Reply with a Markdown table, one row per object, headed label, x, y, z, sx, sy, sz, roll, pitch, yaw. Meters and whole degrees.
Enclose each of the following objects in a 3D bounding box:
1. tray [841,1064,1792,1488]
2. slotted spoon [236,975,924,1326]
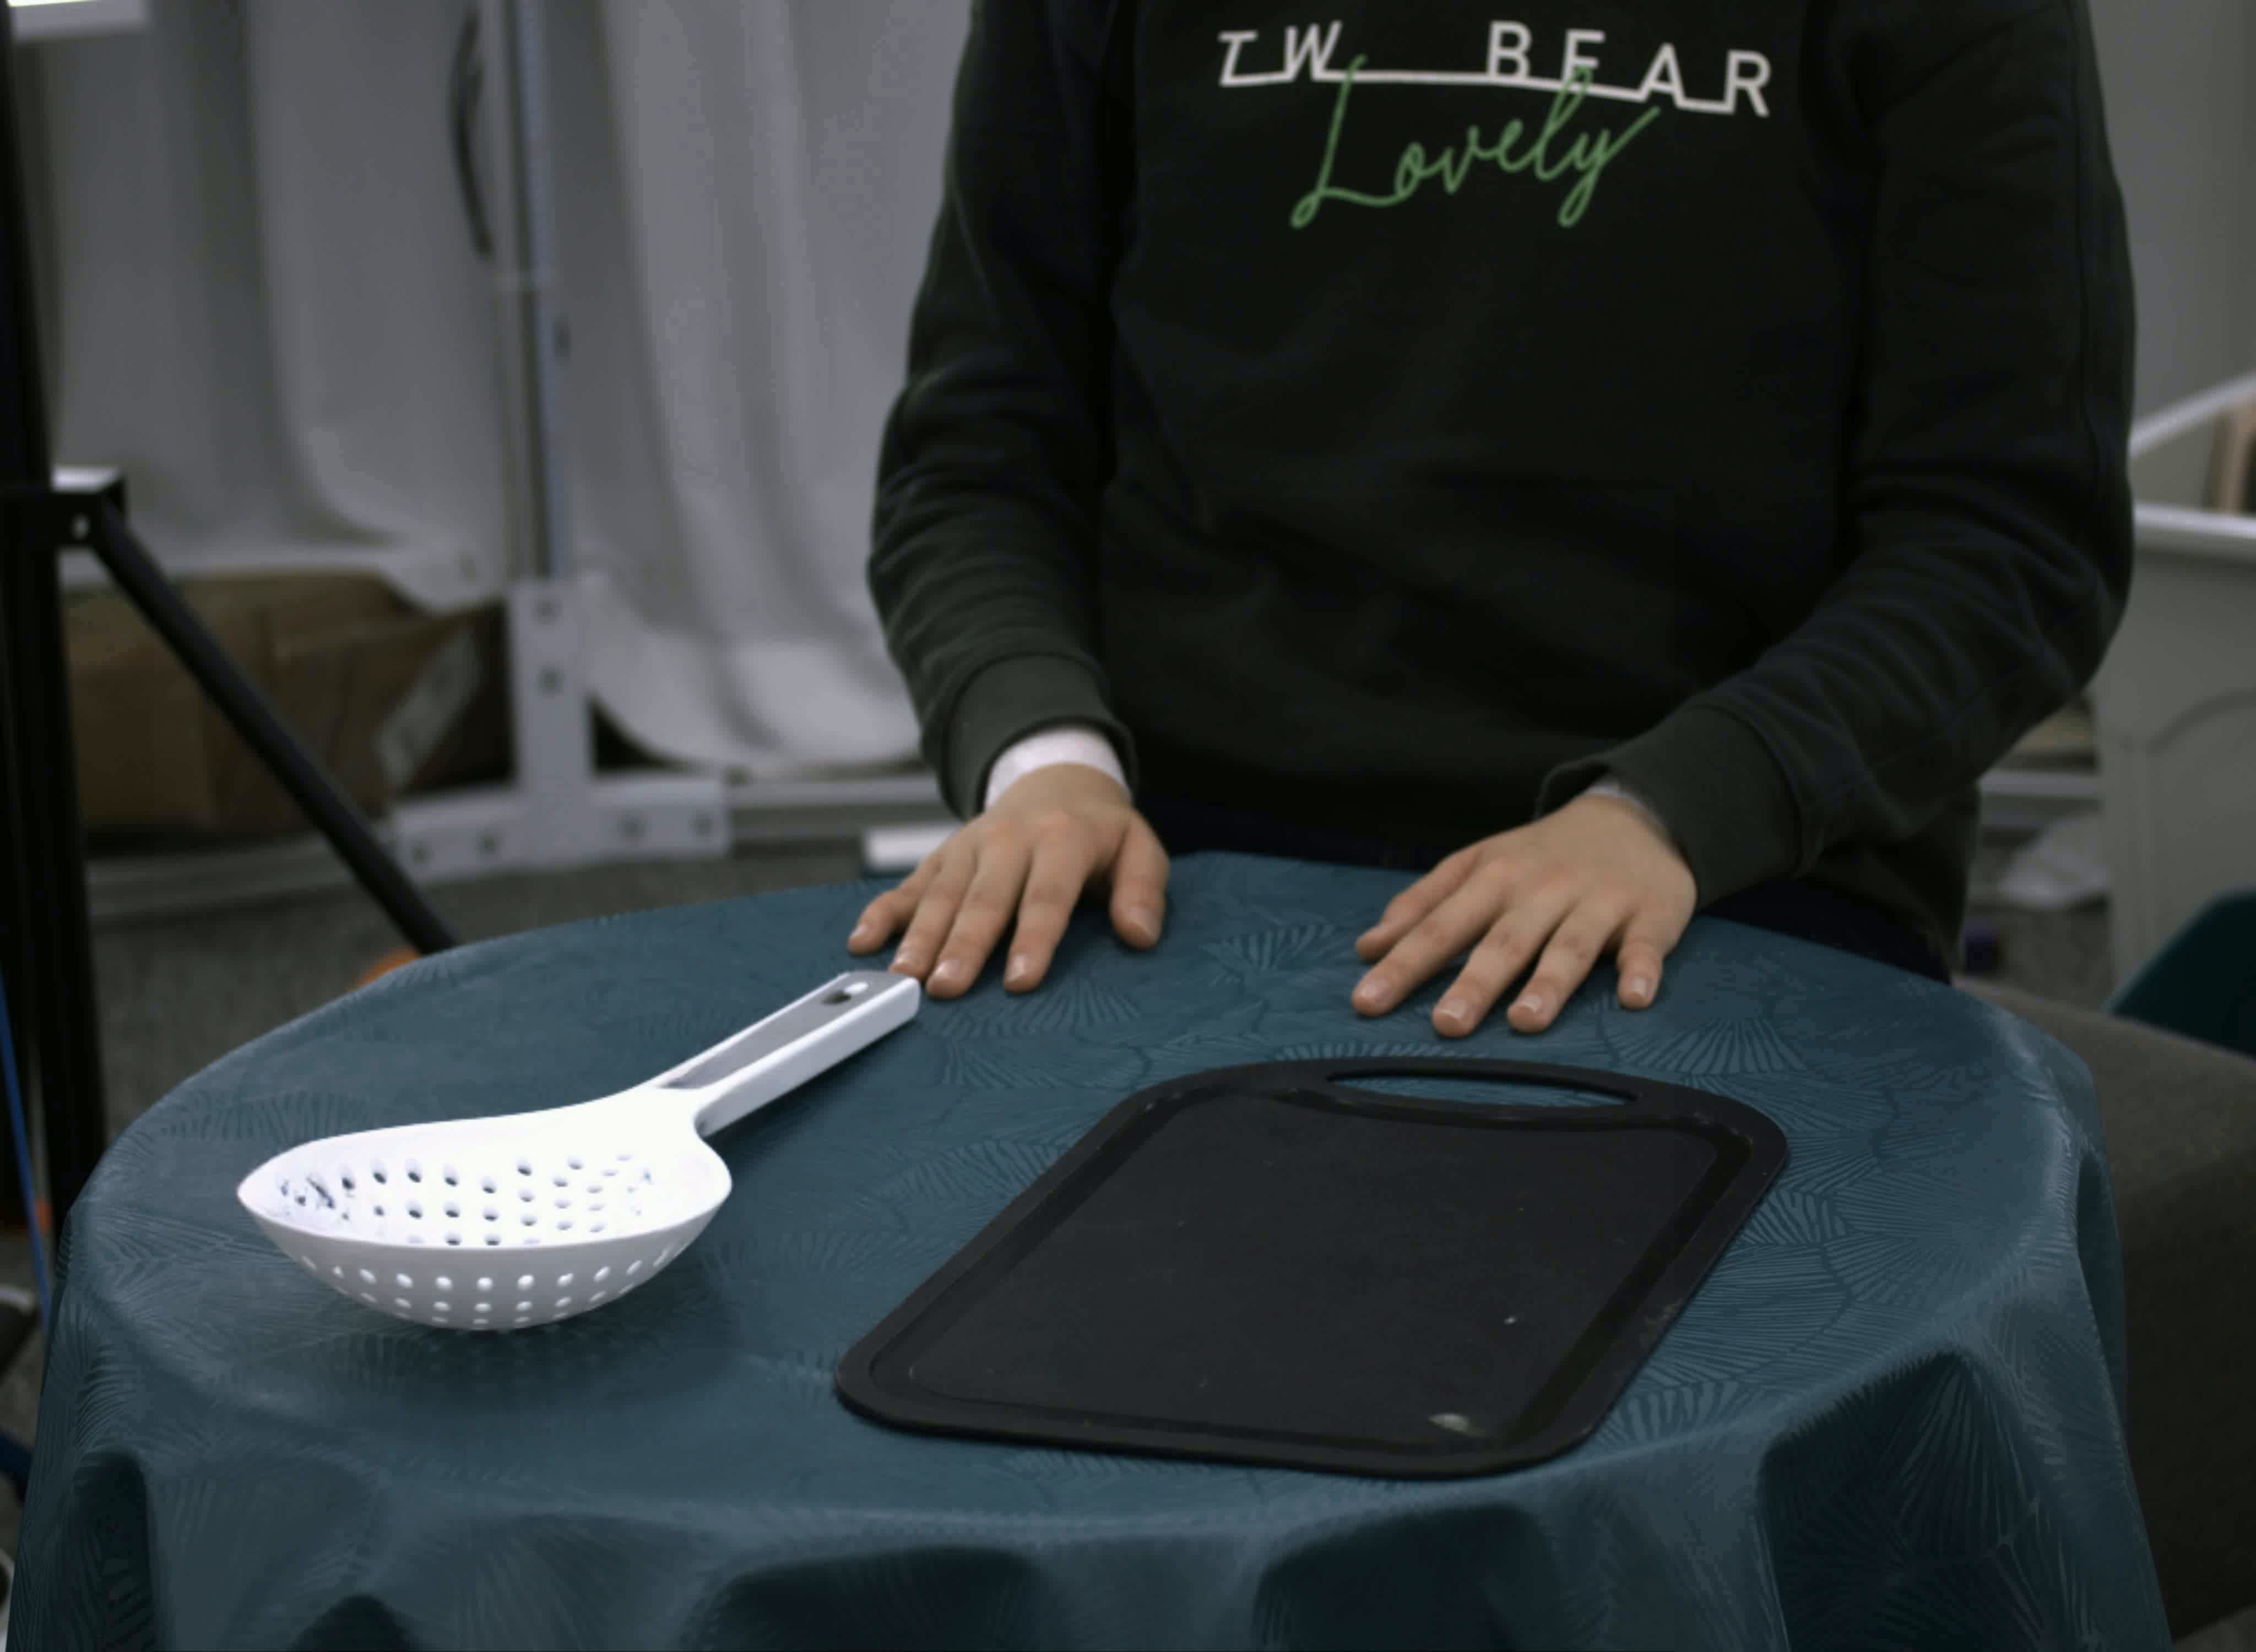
| label | x | y | z | sx | sy | sz | roll | pitch | yaw |
| --- | --- | --- | --- | --- | --- | --- | --- | --- | --- |
| tray | 0.062 | 0.118 | 1.501 | 0.214 | 0.010 | 0.321 | 4 | 17 | 21 |
| slotted spoon | -0.140 | 0.086 | 1.575 | 0.138 | 0.046 | 0.345 | 6 | 17 | 21 |
